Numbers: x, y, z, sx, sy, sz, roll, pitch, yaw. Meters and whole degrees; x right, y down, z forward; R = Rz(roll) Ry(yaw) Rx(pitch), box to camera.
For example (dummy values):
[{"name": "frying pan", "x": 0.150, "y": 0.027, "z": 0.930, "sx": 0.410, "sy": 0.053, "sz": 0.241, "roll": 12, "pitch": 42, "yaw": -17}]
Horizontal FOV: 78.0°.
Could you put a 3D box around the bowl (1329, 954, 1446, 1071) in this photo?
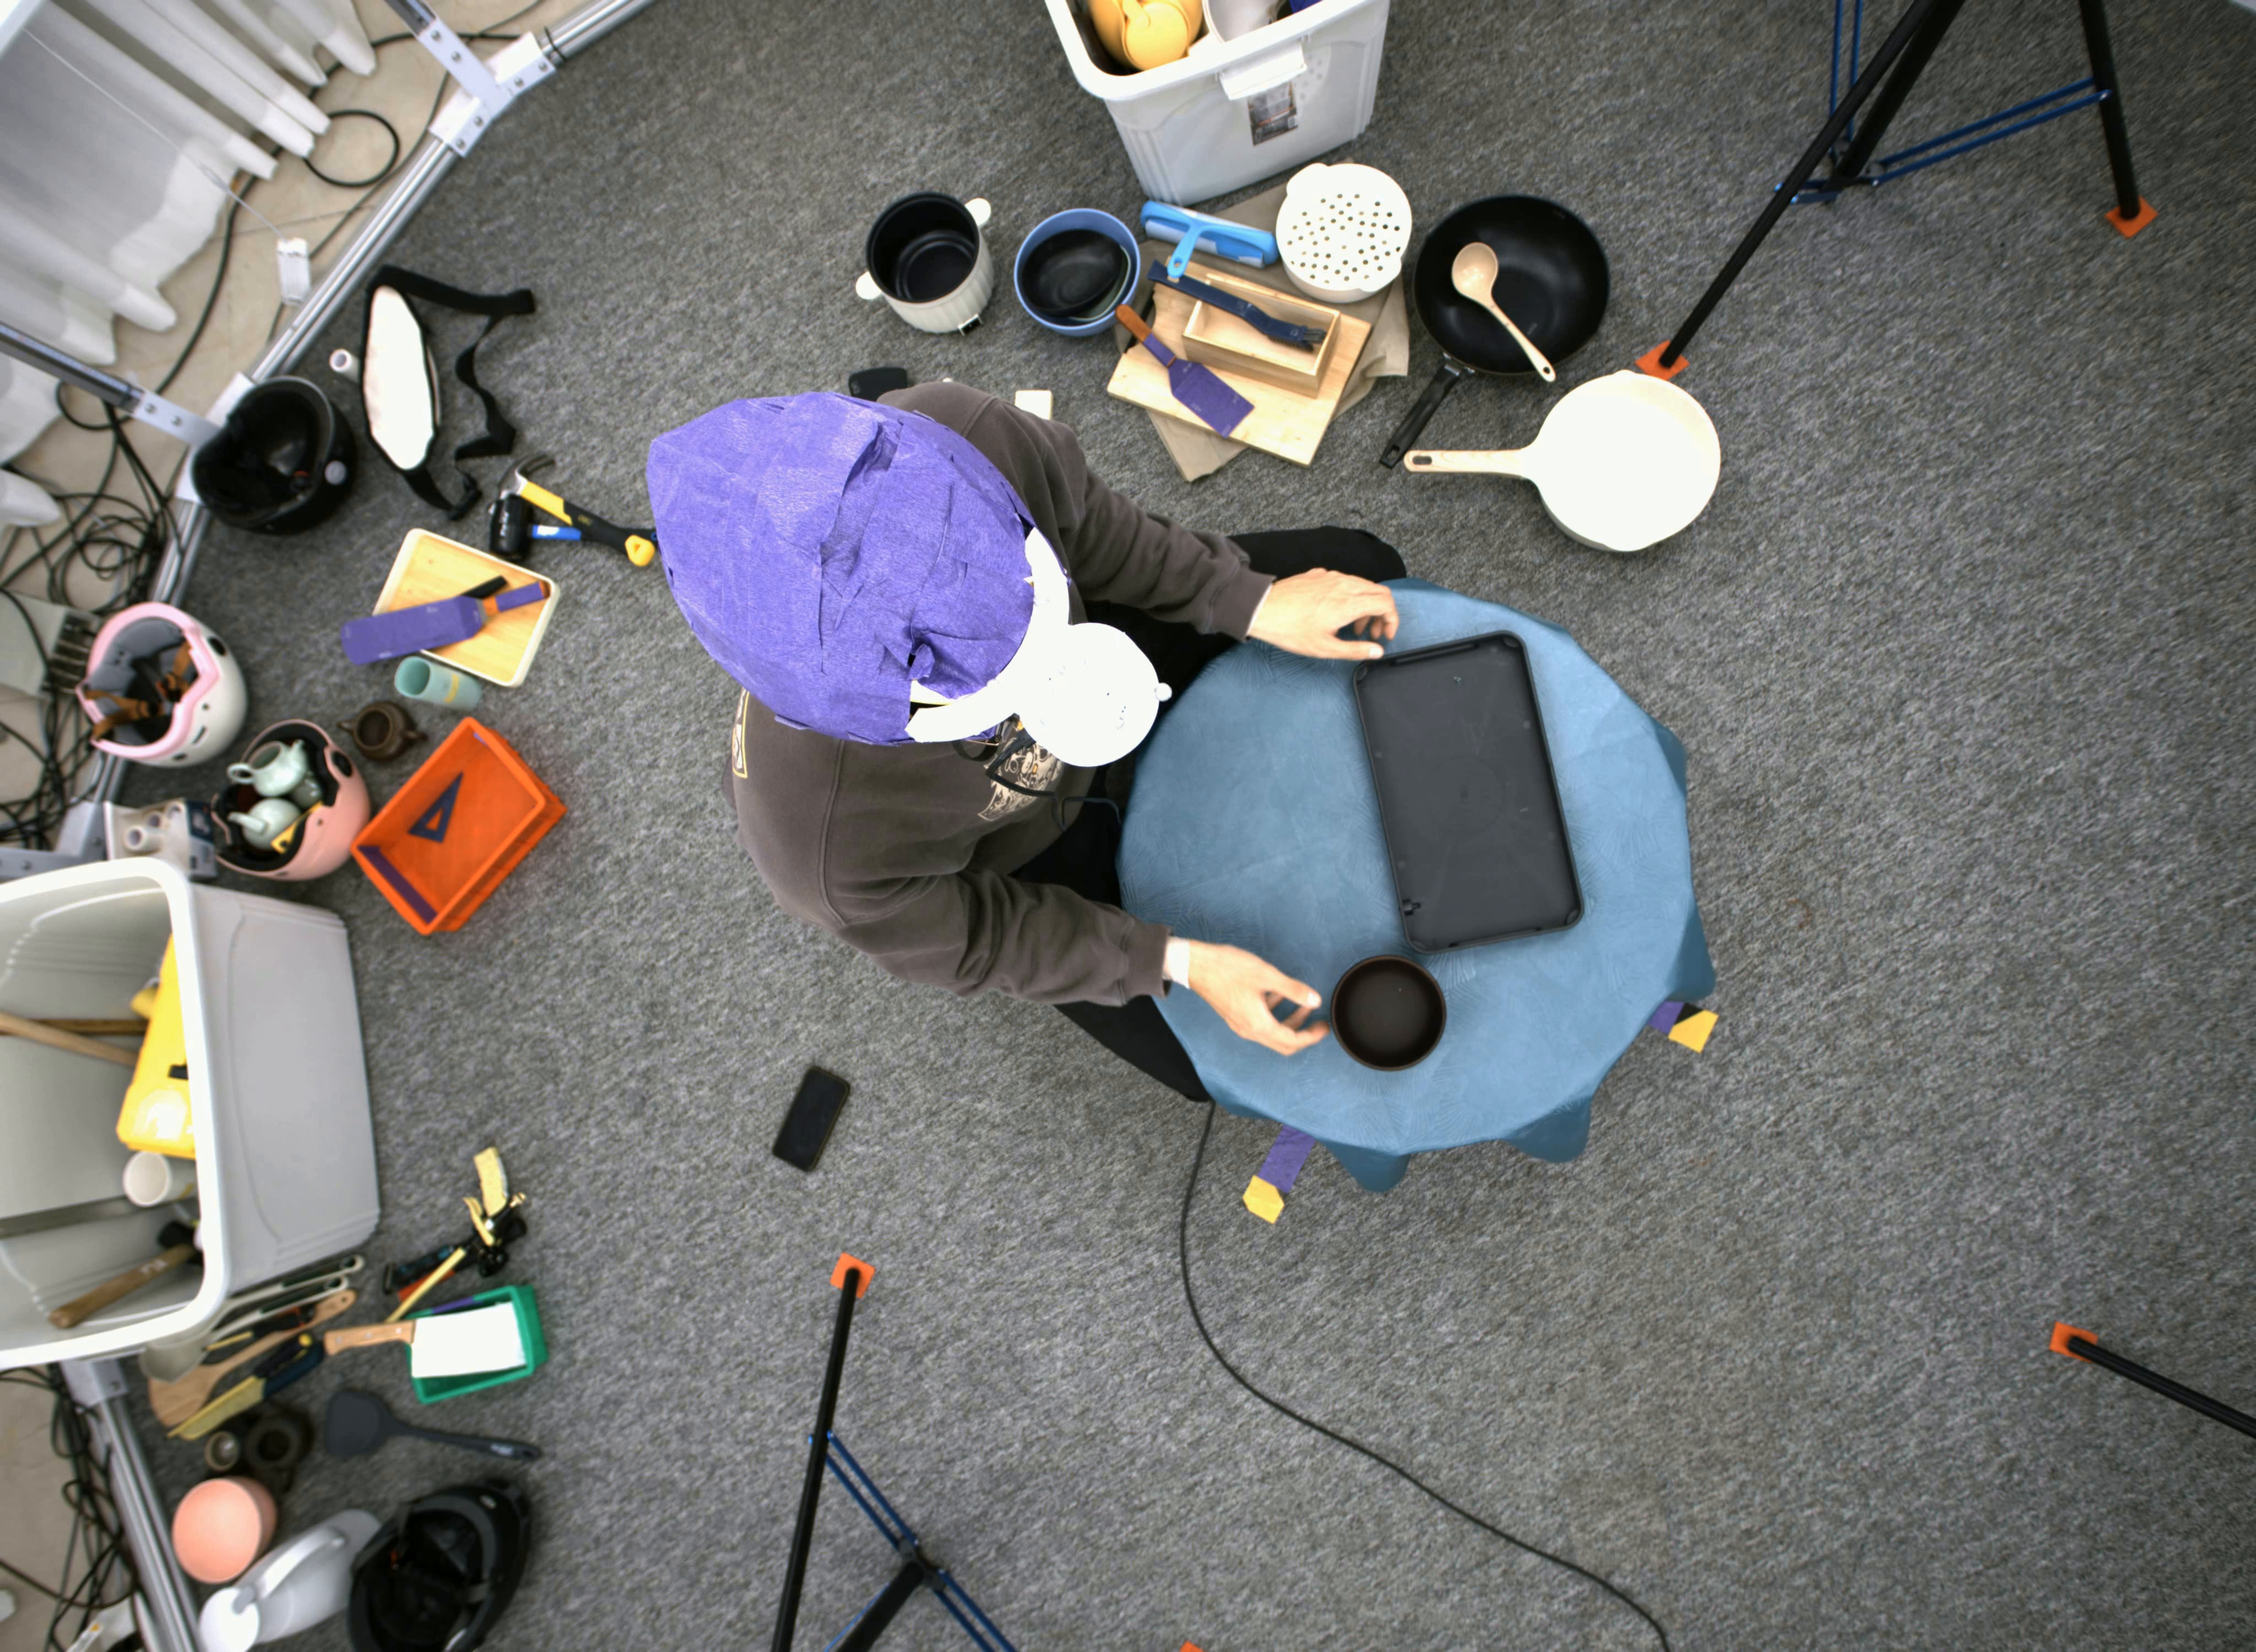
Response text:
[{"name": "bowl", "x": 0.266, "y": 0.189, "z": 1.416, "sx": 0.118, "sy": 0.070, "sz": 0.117, "roll": -1, "pitch": 86, "yaw": 12}]

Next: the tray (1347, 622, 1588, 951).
[{"name": "tray", "x": 0.350, "y": -0.042, "z": 1.430, "sx": 0.185, "sy": 0.037, "sz": 0.316, "roll": -14, "pitch": 85, "yaw": 10}]
